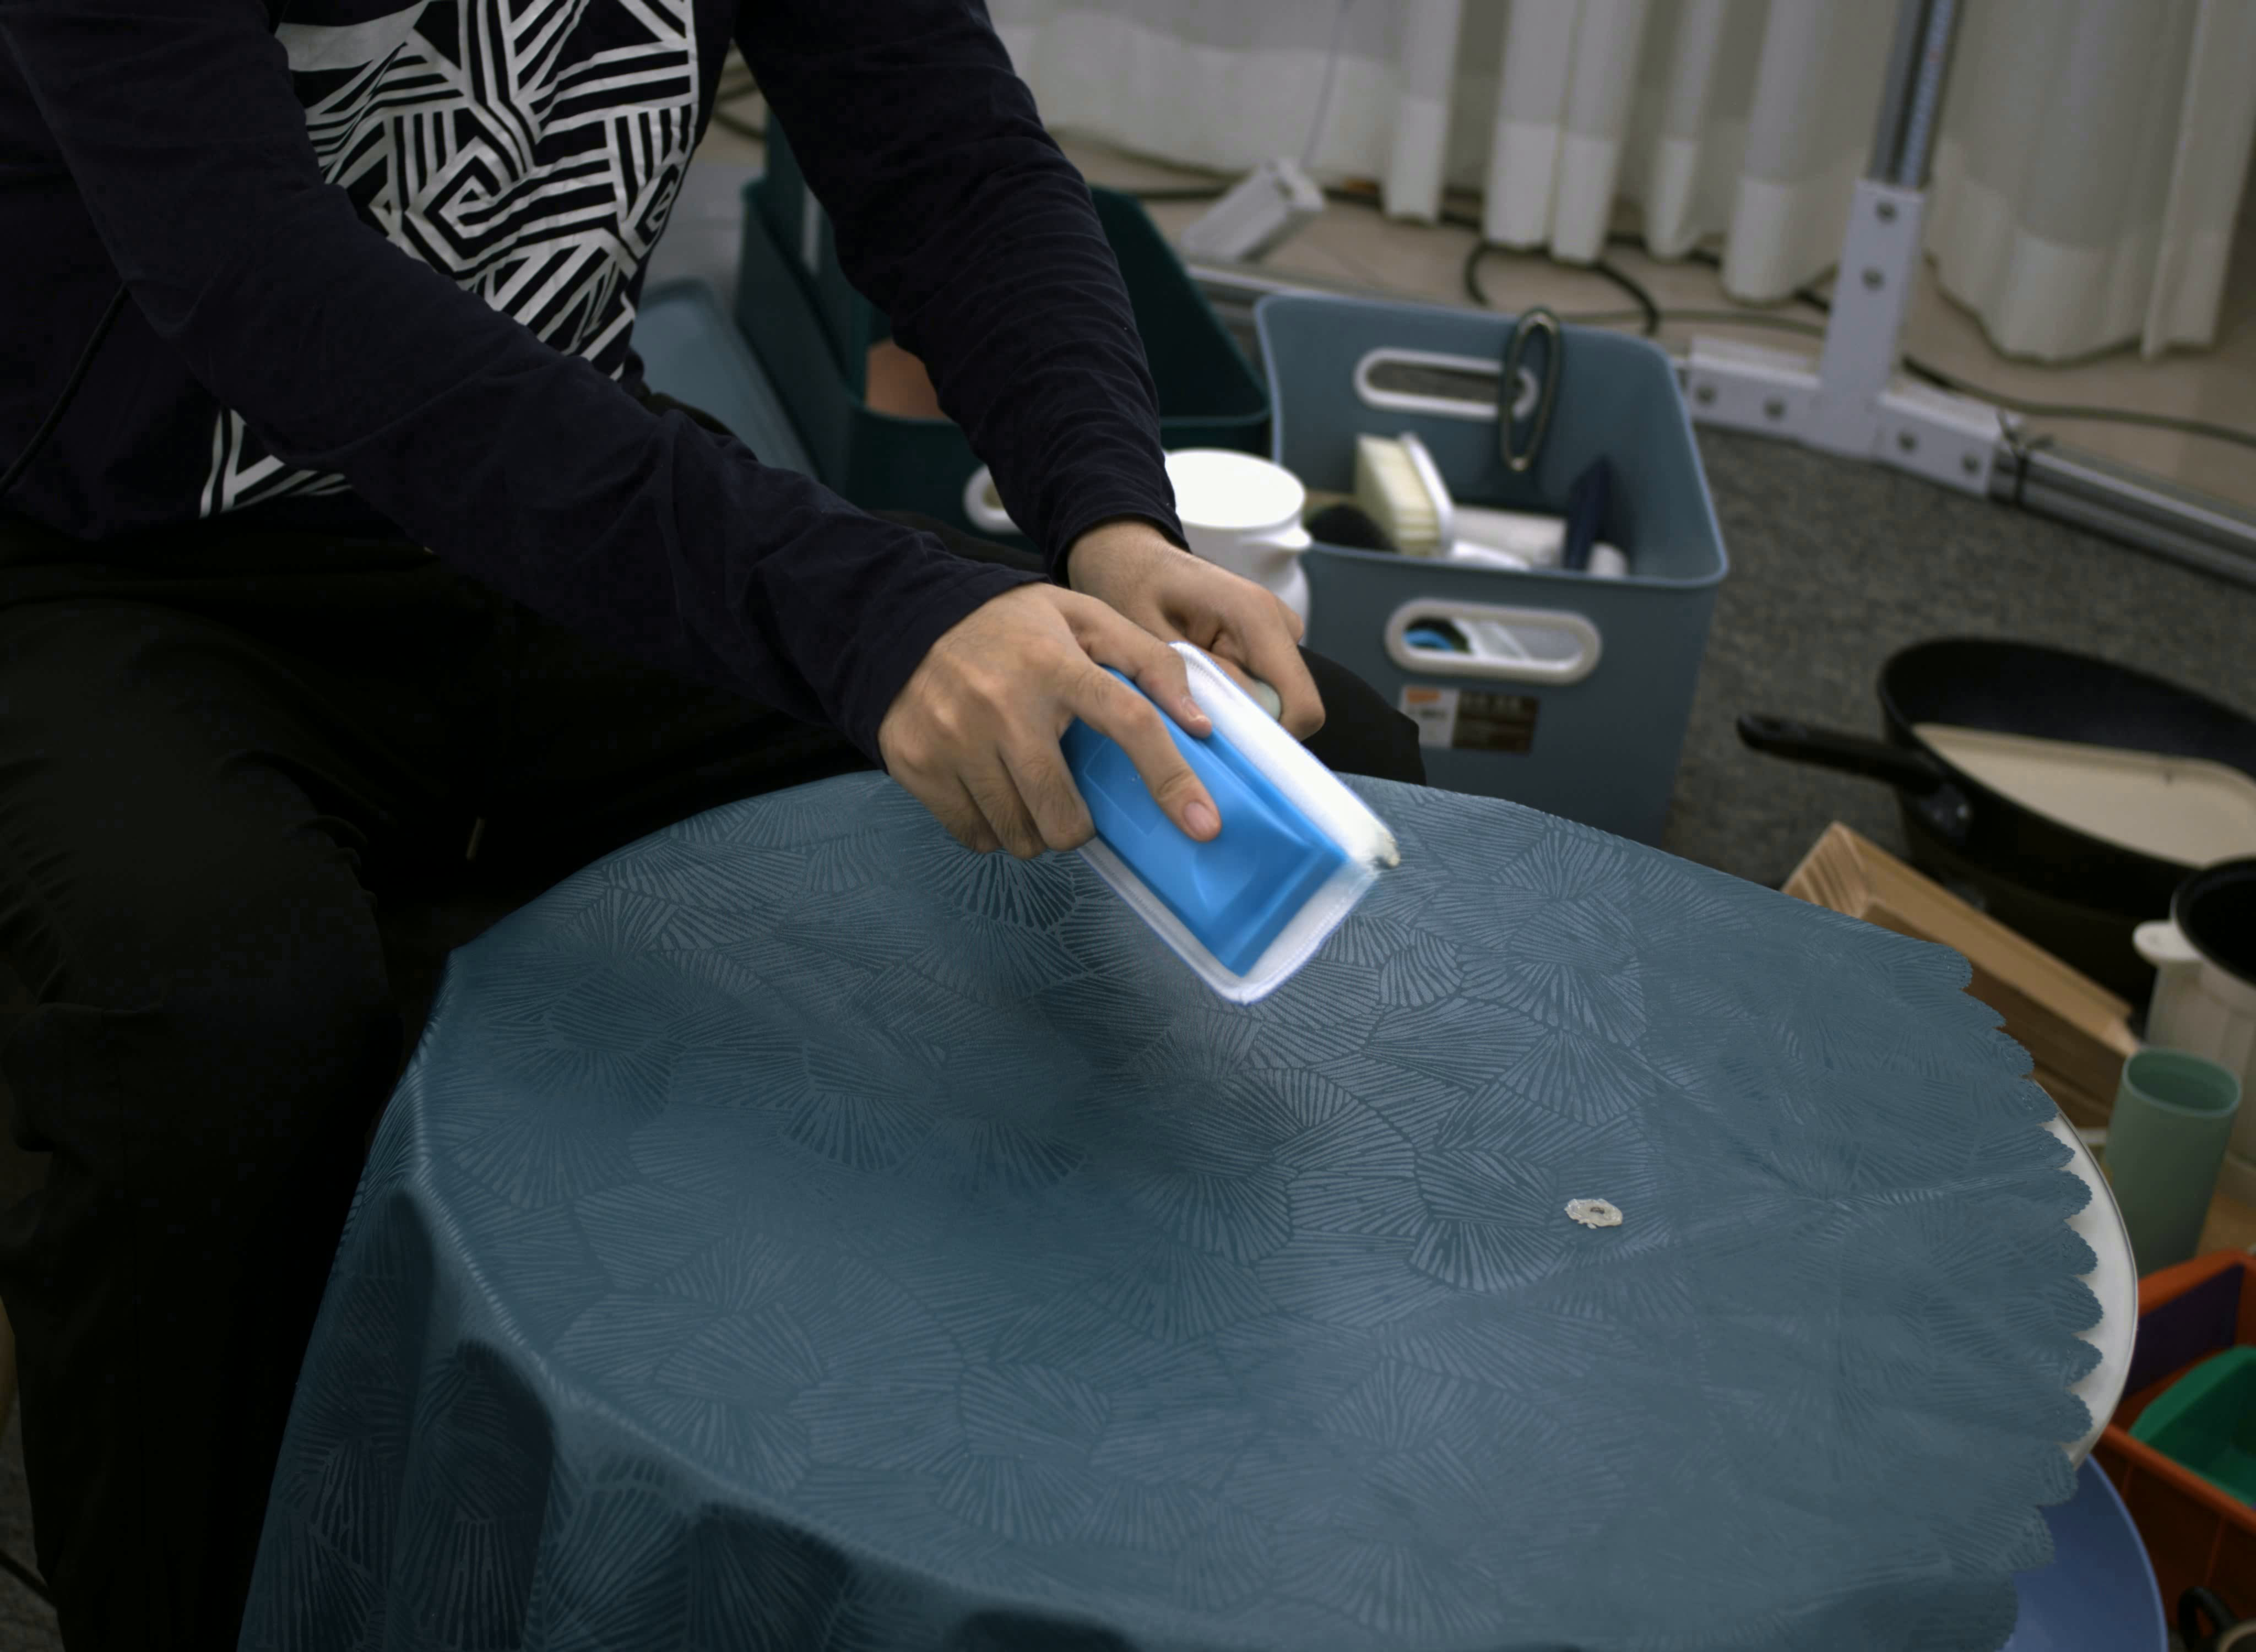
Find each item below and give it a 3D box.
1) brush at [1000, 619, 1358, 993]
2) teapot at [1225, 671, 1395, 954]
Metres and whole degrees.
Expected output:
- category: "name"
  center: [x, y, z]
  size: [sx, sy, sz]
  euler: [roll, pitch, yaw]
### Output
- category: "brush"
  center: [0.011, -0.012, 1.799]
  size: [0.145, 0.084, 0.055]
  euler: [48, 6, 39]
- category: "teapot"
  center: [0.044, 0.002, 1.862]
  size: [0.087, 0.075, 0.145]
  euler: [39, 9, -31]
